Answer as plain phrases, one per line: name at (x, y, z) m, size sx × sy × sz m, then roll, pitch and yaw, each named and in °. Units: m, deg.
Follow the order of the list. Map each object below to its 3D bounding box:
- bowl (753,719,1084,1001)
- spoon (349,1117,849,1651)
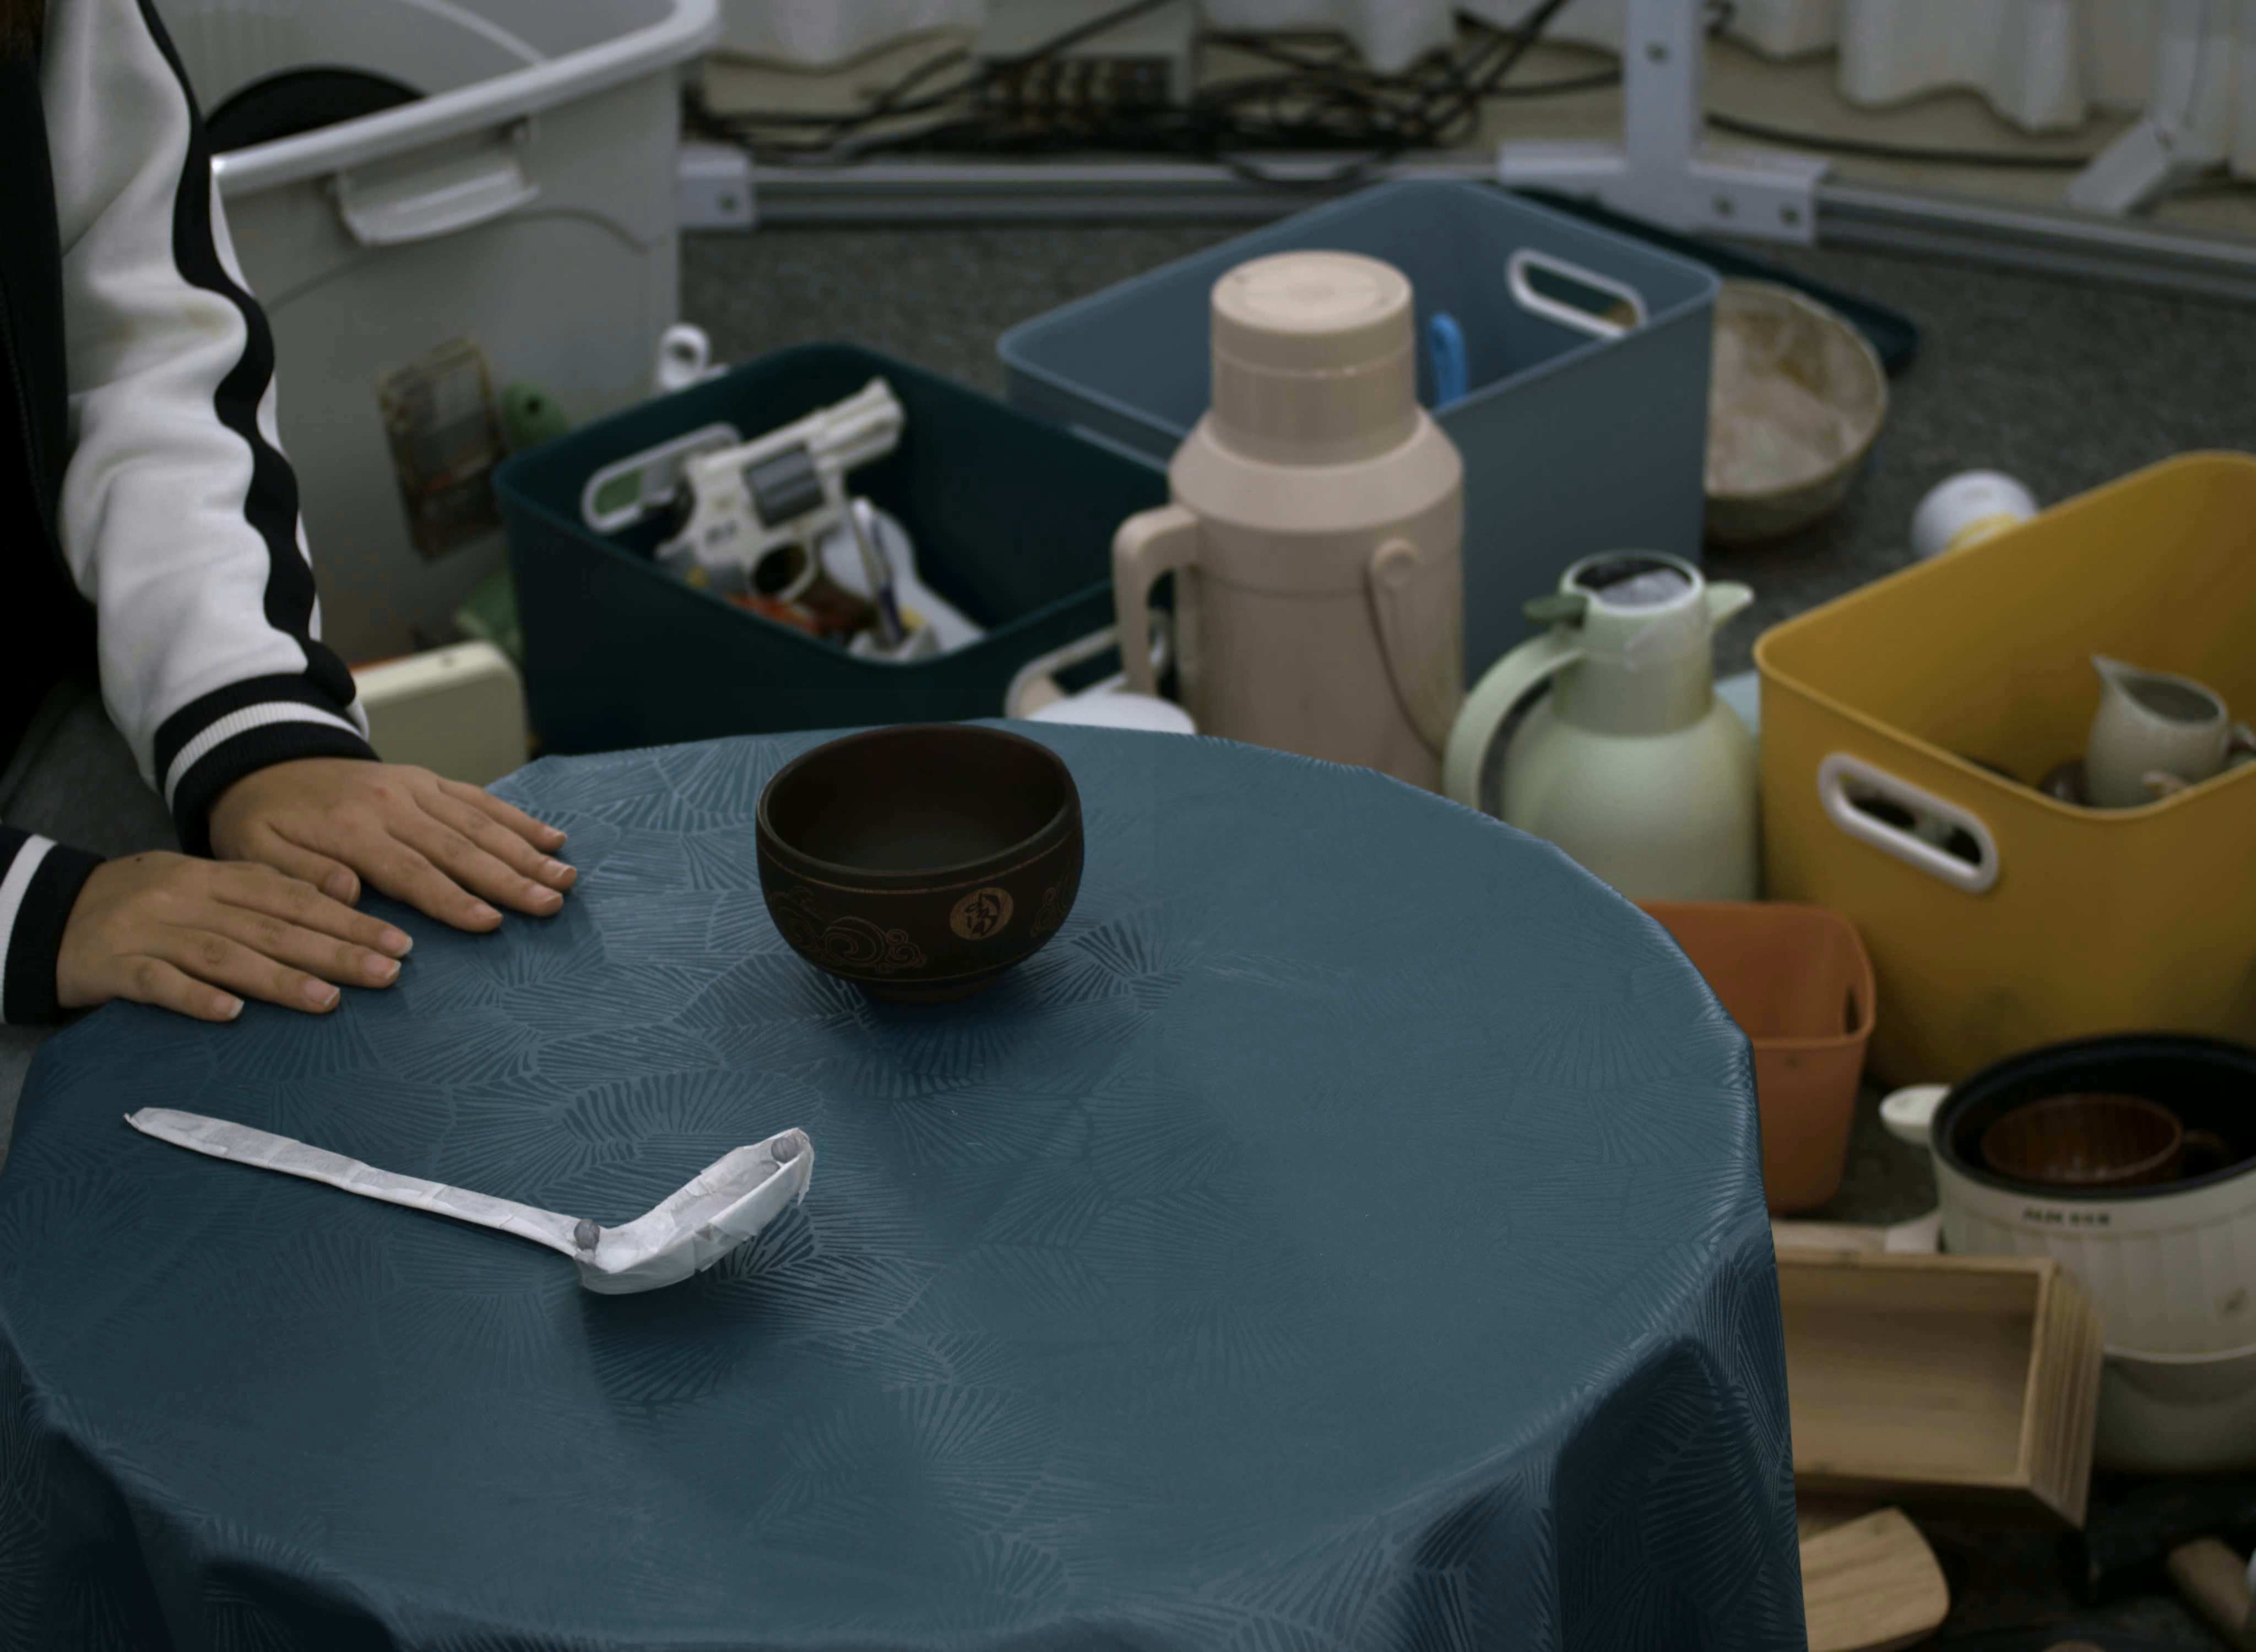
bowl at (-0.073, 0.018, 1.989) m, size 0.117 × 0.069 × 0.120 m, roll -2°, pitch 27°, yaw 1°
spoon at (-0.184, 0.204, 1.839) m, size 0.059 × 0.276 × 0.101 m, roll 31°, pitch 10°, yaw 5°
